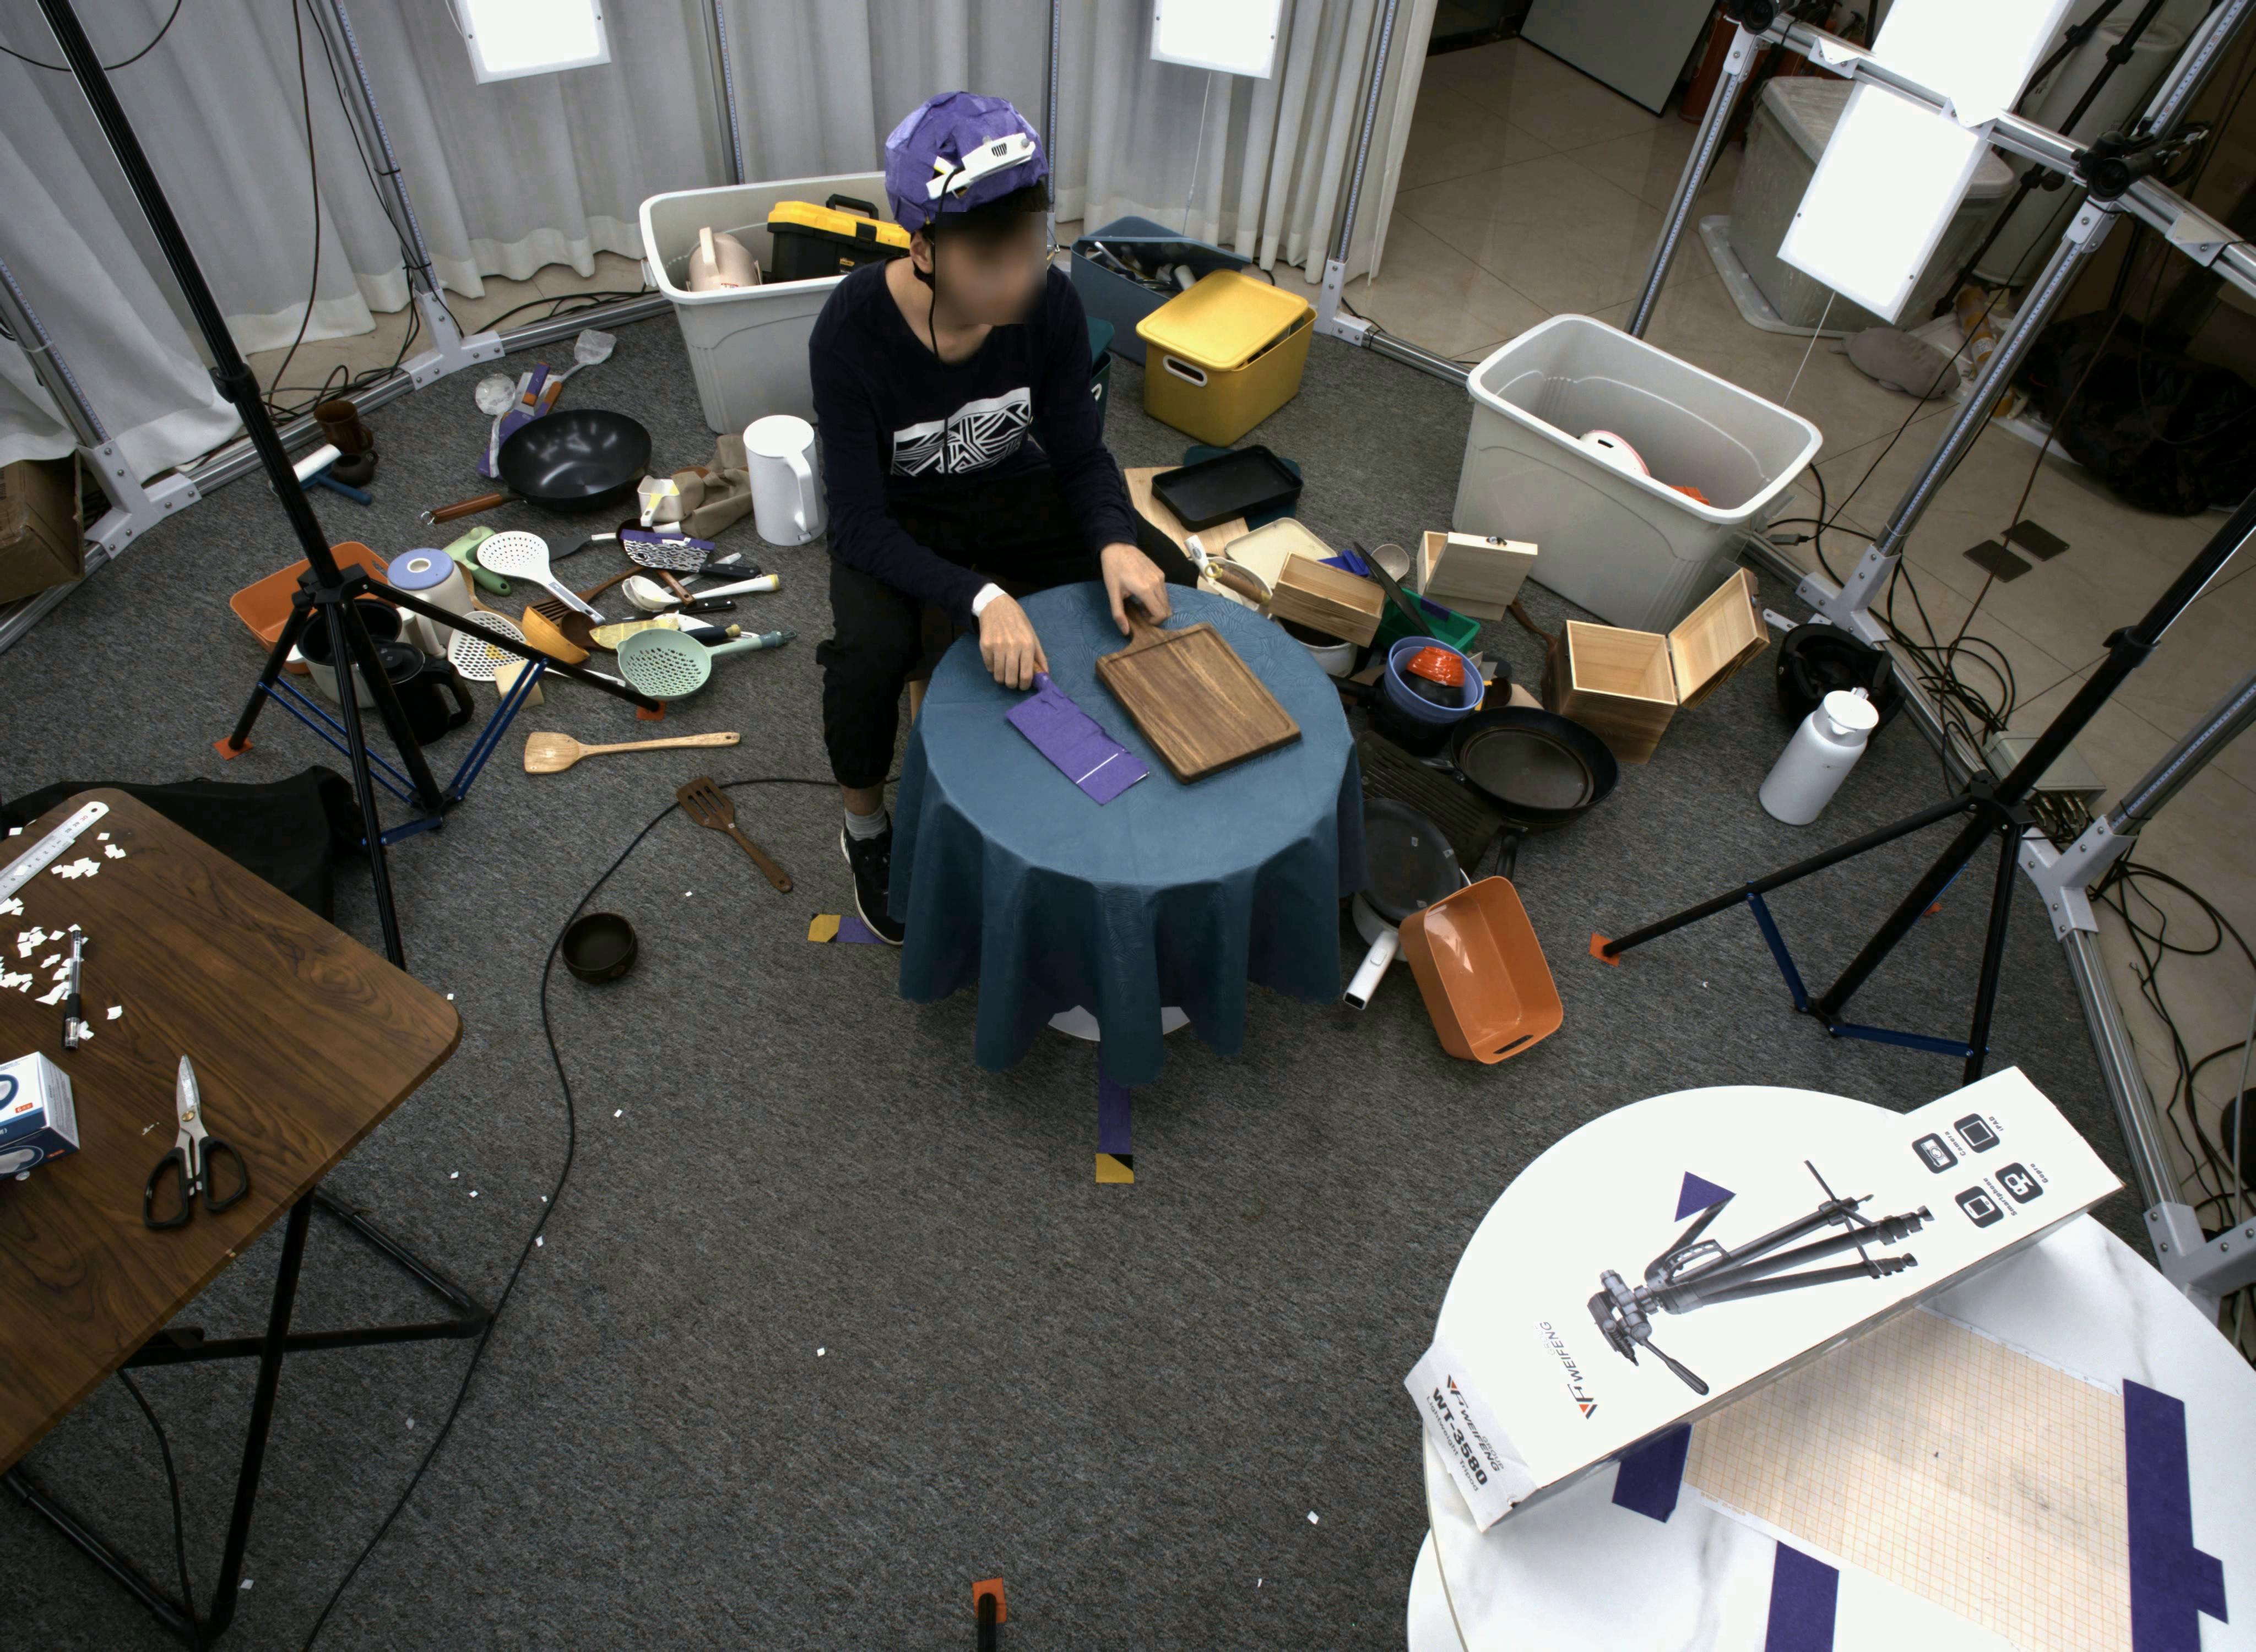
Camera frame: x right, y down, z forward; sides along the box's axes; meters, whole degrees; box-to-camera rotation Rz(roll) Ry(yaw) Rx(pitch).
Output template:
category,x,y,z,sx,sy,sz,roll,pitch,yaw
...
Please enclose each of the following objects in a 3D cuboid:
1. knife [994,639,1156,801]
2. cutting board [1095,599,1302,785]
category,x,y,z,sx,sy,sz,roll,pitch,yaw
knife,-0.102,-0.150,1.773,0.104,0.031,0.320,-33,59,-26
cutting board,0.073,-0.214,1.841,0.201,0.022,0.359,-21,54,-21
